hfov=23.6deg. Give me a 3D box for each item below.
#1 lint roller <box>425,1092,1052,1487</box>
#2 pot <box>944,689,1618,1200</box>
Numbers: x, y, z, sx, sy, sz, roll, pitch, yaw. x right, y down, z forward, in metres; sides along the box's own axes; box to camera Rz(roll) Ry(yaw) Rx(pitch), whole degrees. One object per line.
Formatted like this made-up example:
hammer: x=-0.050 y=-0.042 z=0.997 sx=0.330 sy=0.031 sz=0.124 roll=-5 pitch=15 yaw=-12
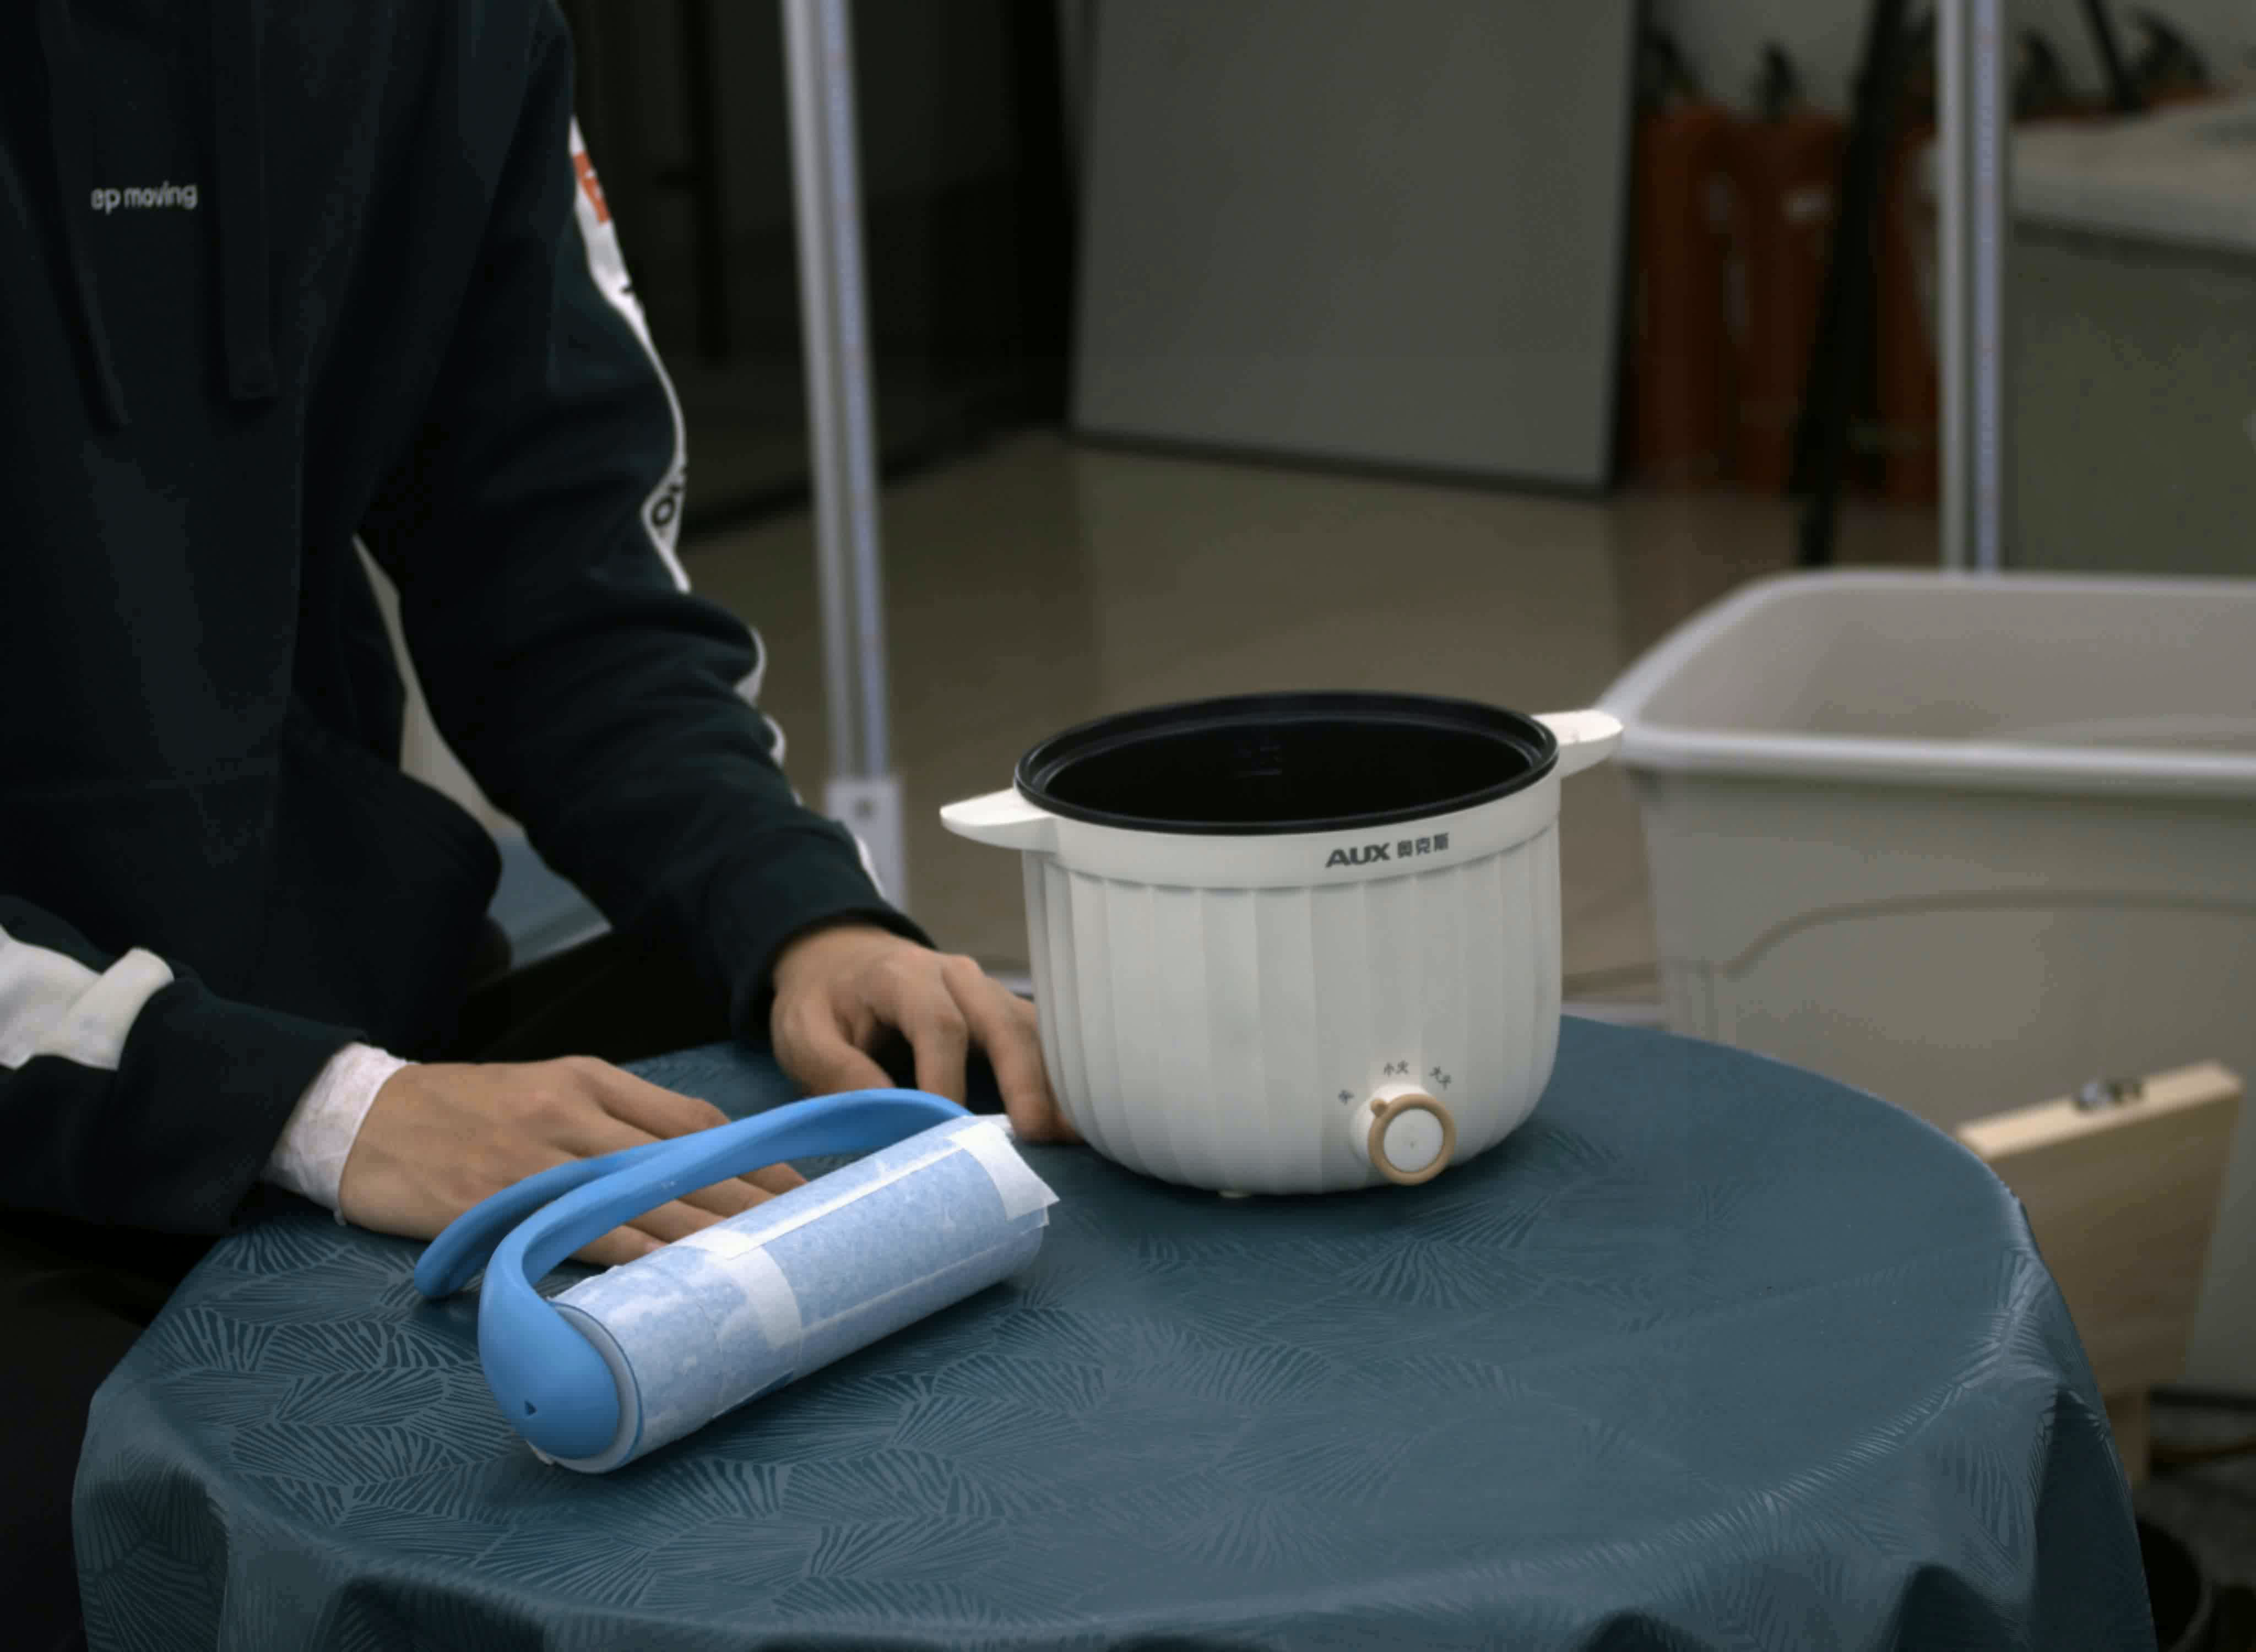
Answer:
lint roller: x=-0.148 y=0.134 z=1.649 sx=0.181 sy=0.068 sz=0.225 roll=6 pitch=19 yaw=33
pot: x=0.060 y=0.041 z=1.787 sx=0.235 sy=0.144 sz=0.192 roll=-10 pitch=11 yaw=-17
